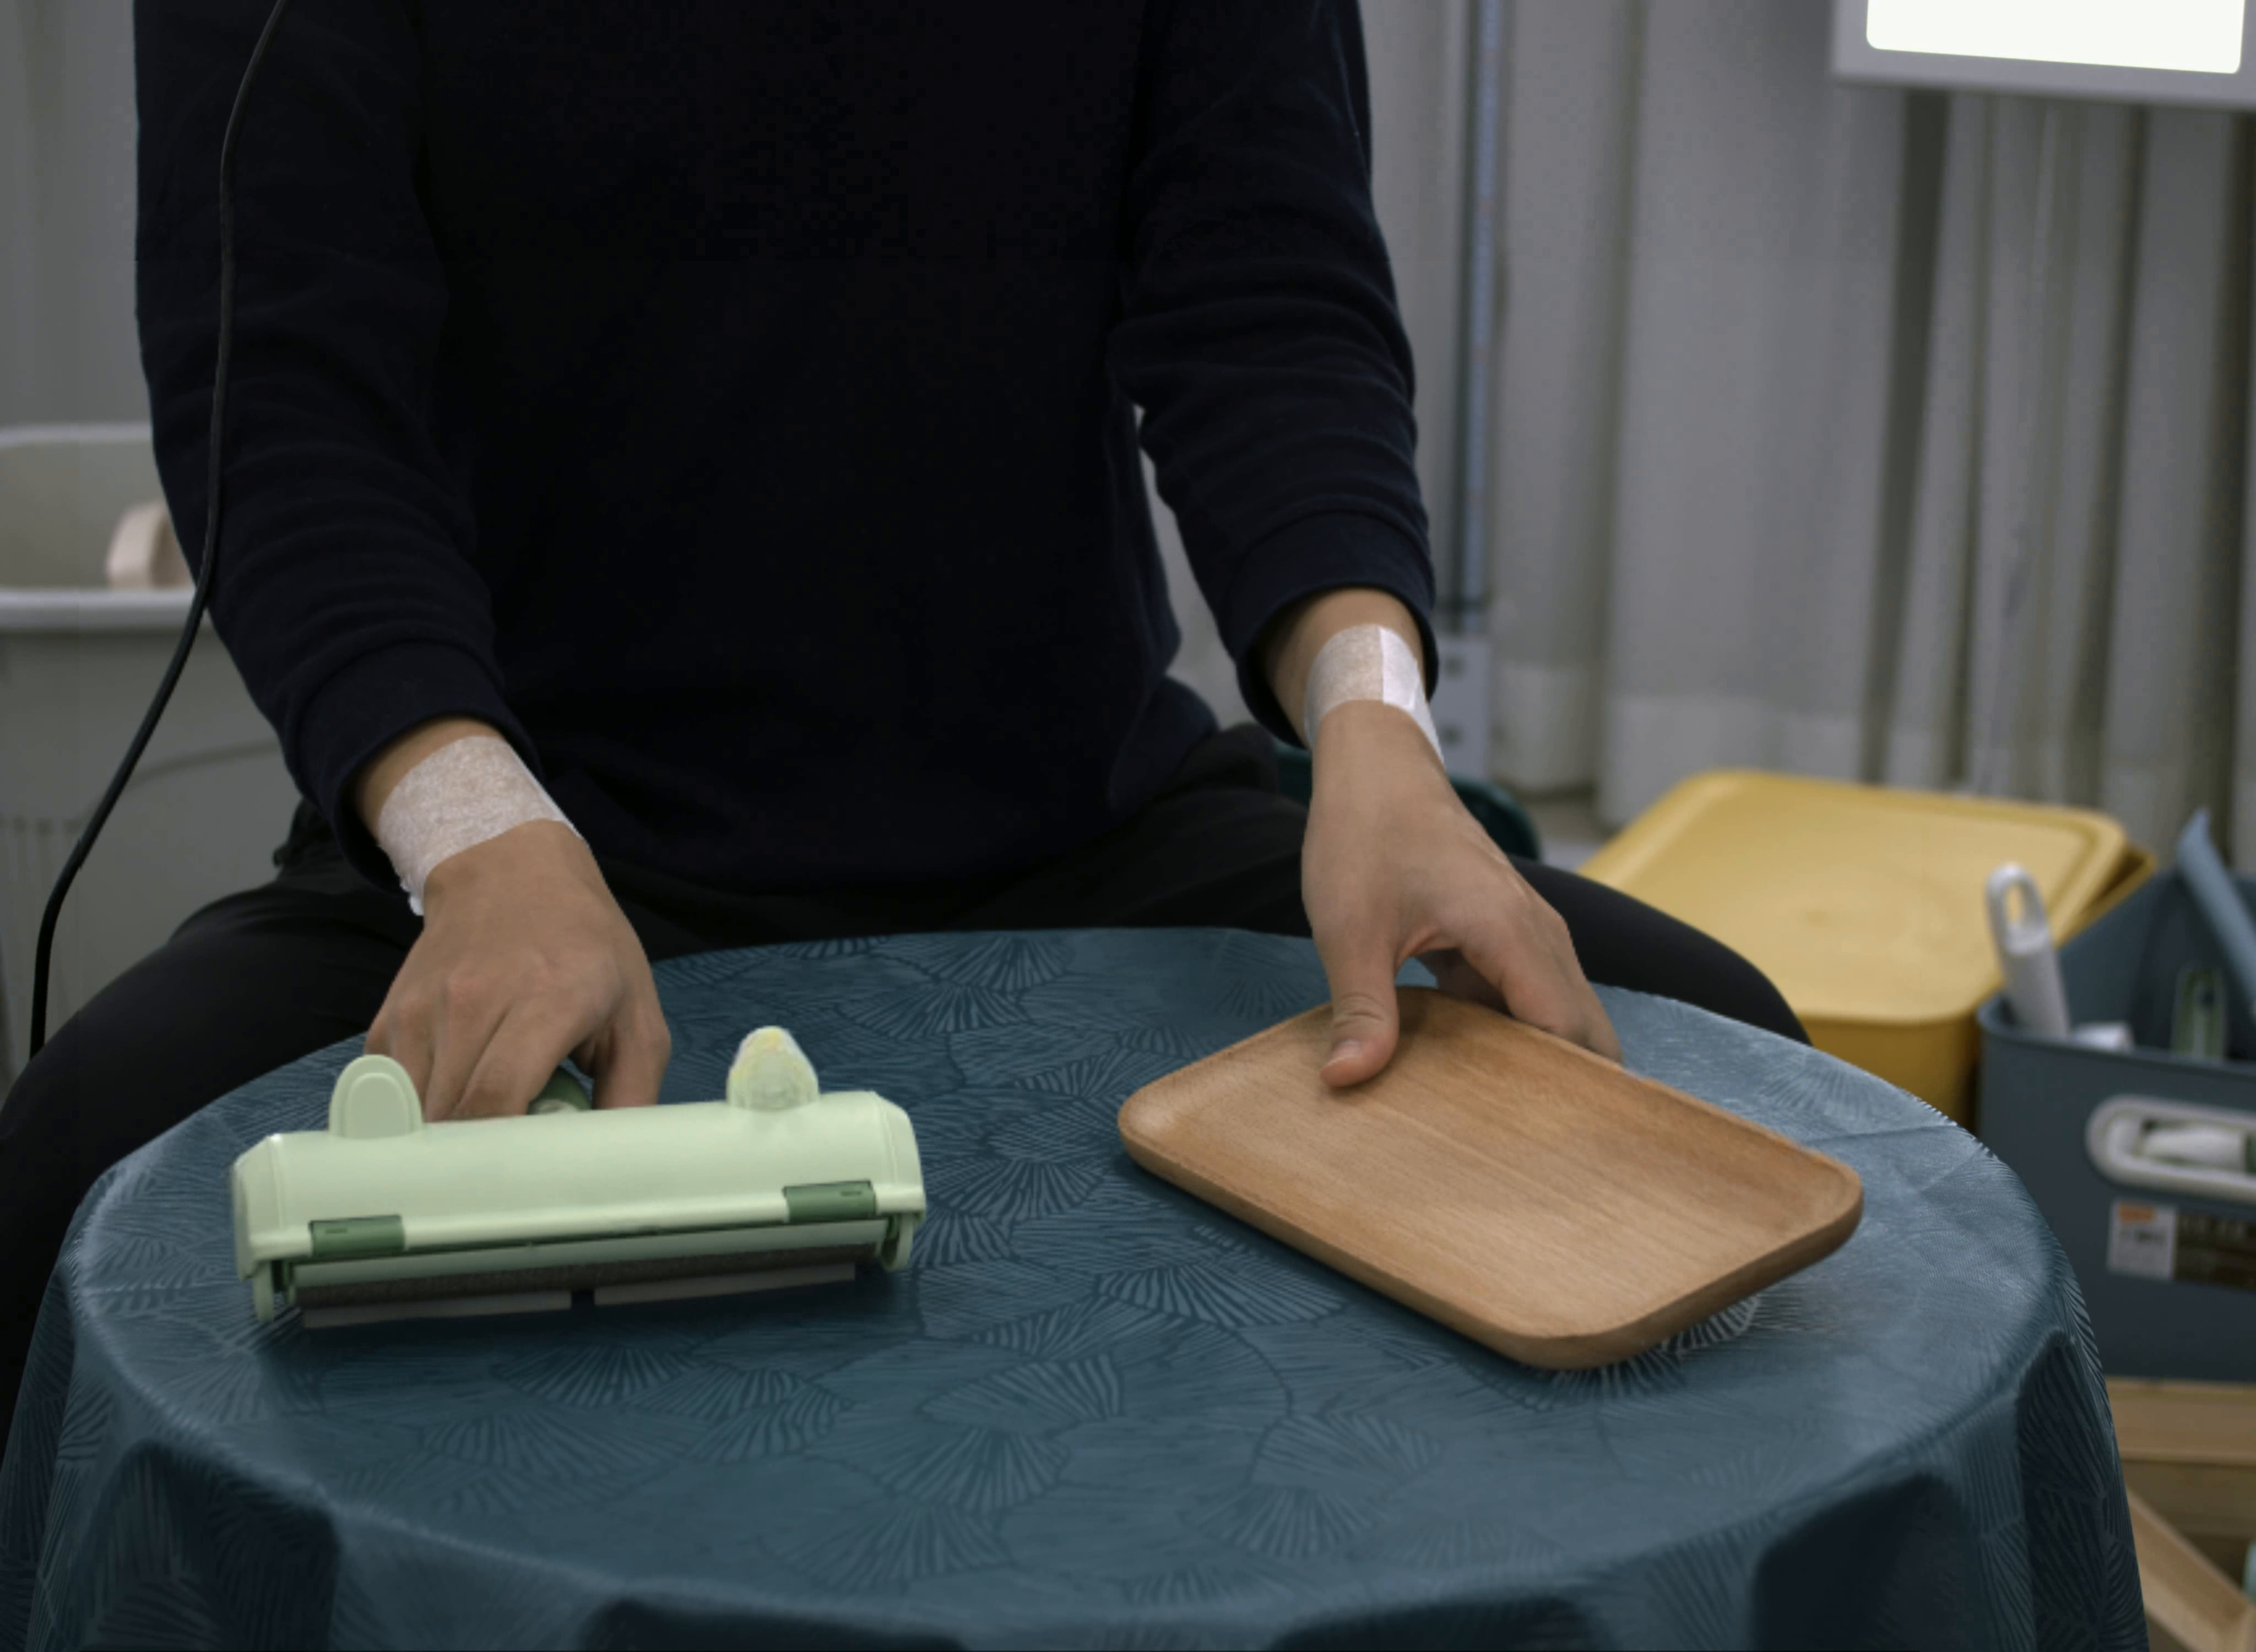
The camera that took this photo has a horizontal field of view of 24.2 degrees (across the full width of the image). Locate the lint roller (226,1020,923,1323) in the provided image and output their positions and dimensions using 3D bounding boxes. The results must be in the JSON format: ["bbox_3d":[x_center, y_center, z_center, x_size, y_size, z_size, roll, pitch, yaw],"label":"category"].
[{"bbox_3d":[-0.172,0.079,1.562,0.199,0.083,0.181,-3,25,-14],"label":"lint roller"}]

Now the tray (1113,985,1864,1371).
[{"bbox_3d":[0.104,0.103,1.586,0.131,0.023,0.247,-20,23,-27],"label":"tray"}]
